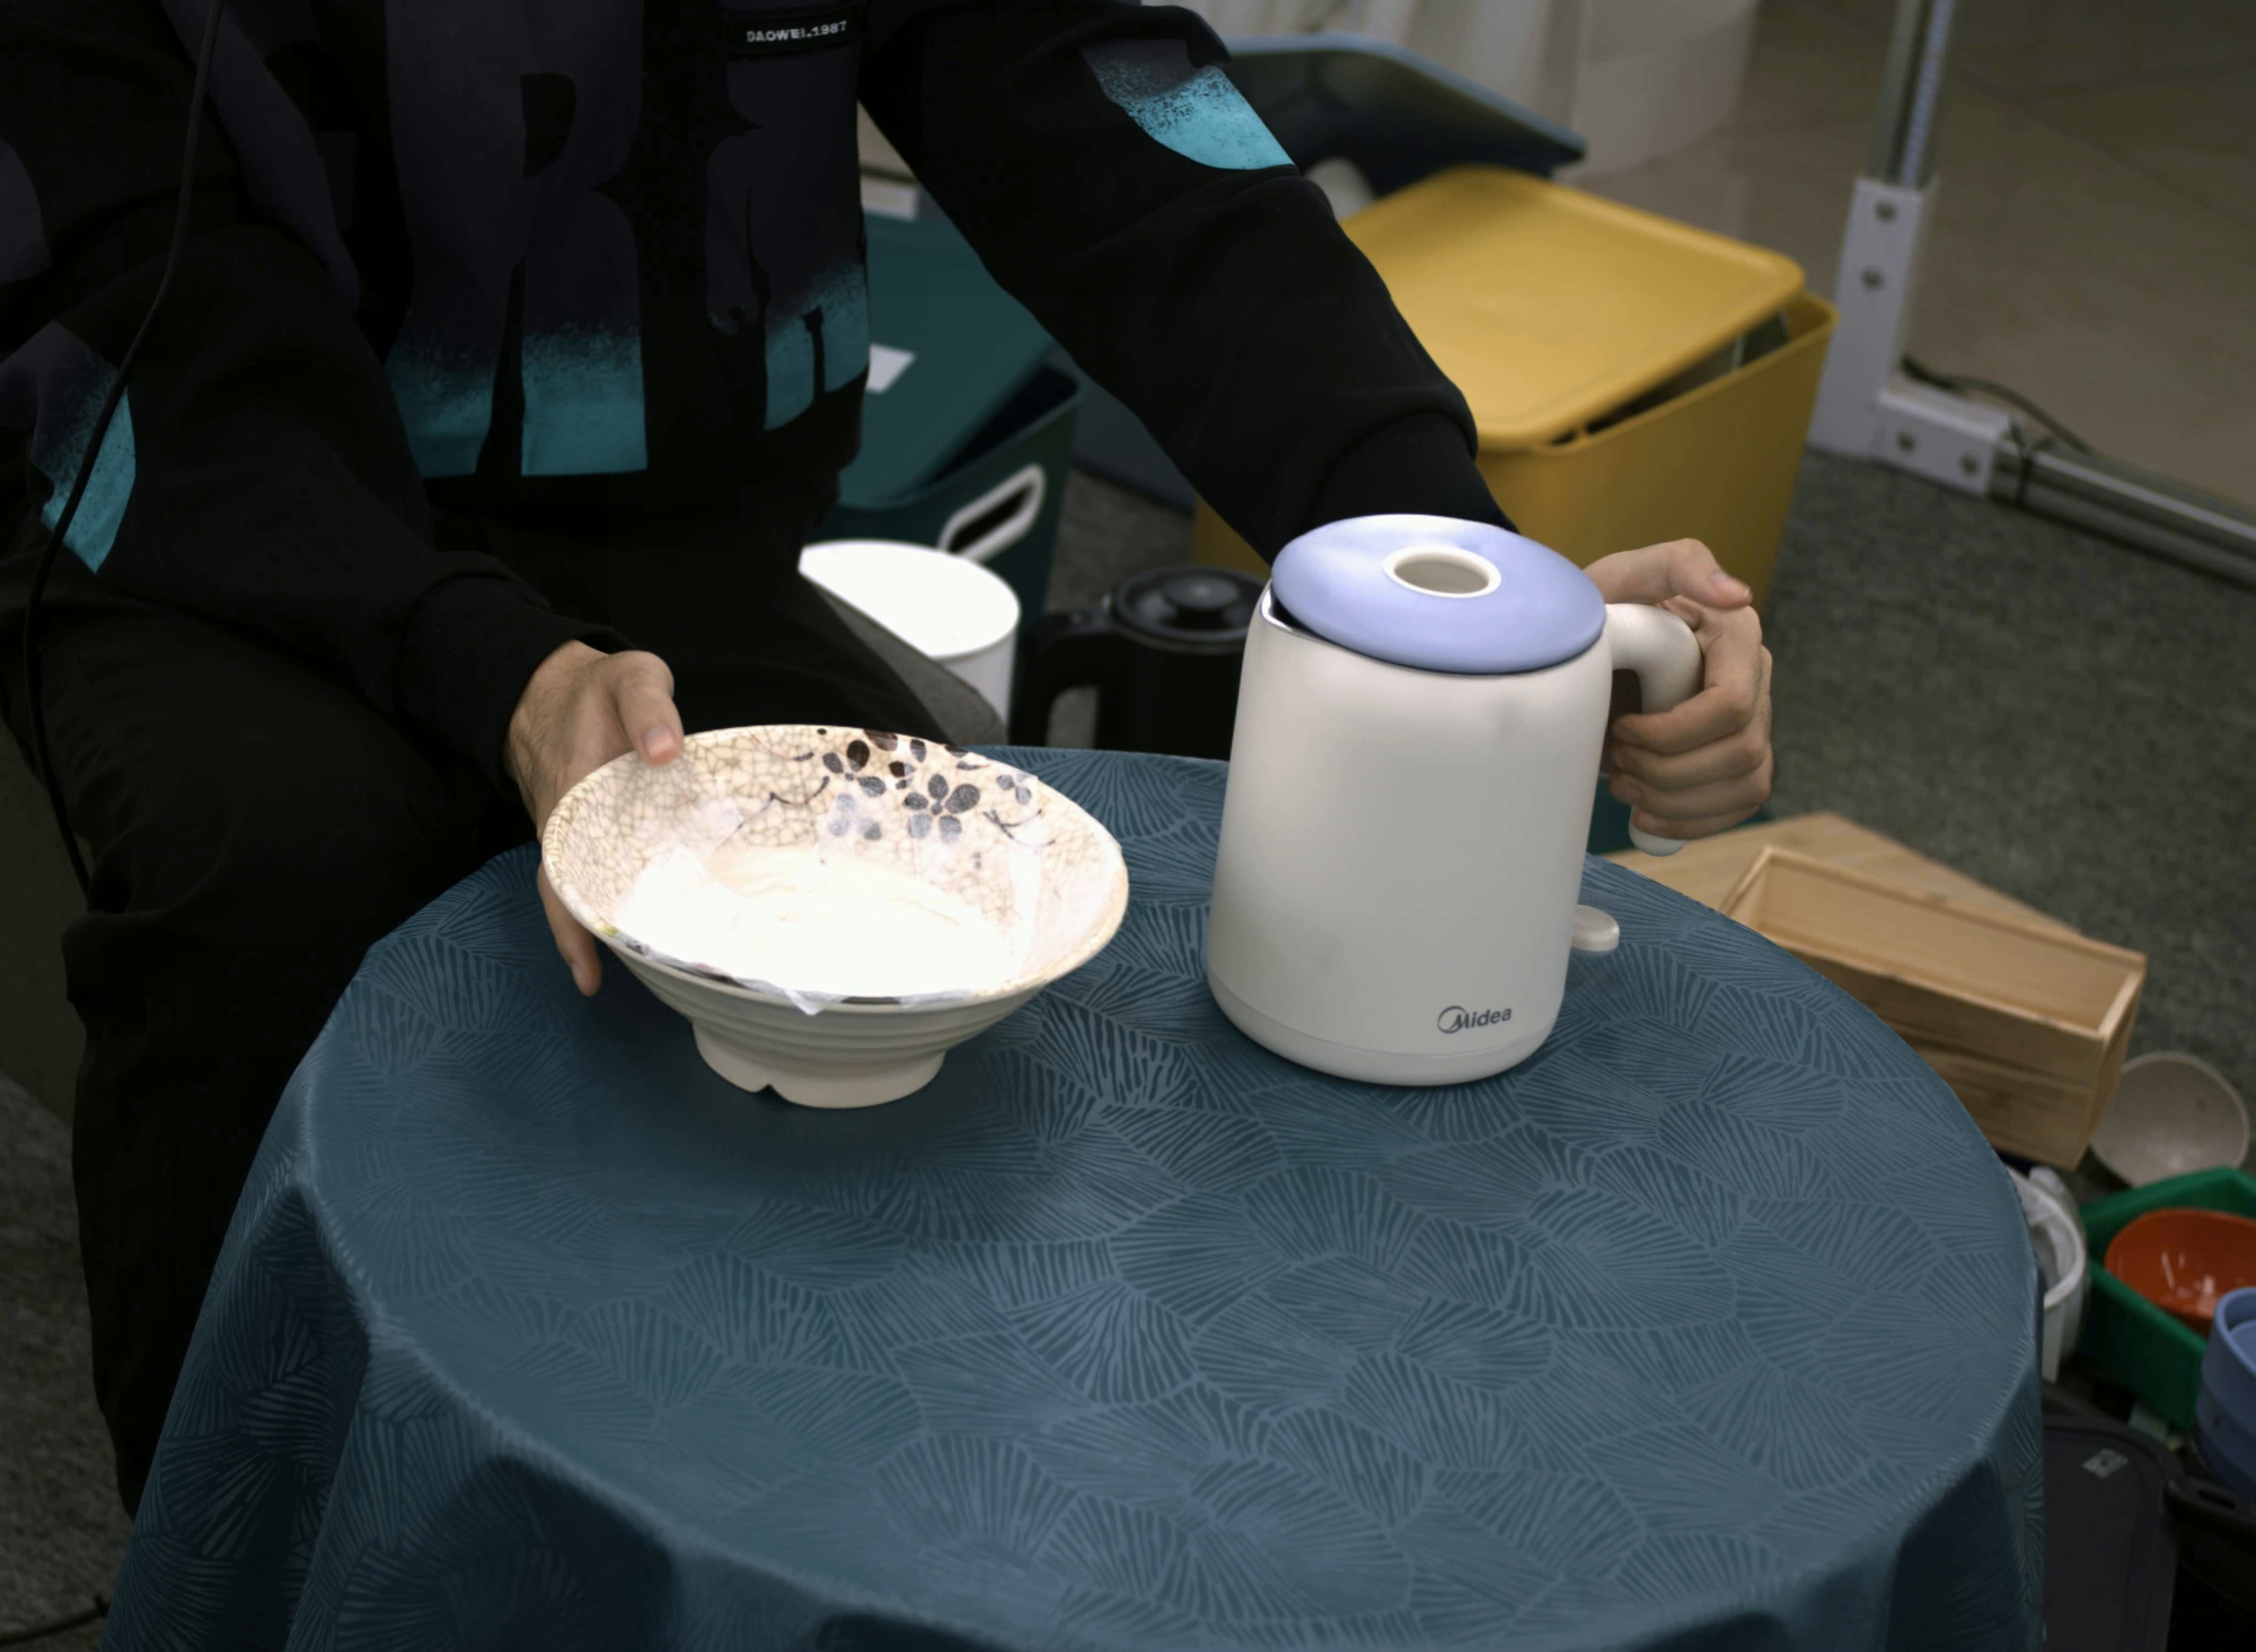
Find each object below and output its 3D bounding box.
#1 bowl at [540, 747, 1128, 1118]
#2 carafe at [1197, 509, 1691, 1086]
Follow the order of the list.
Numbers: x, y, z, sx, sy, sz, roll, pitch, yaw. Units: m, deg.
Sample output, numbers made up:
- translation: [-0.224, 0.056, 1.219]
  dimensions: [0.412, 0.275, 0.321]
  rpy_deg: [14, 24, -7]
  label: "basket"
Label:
- translation: [-0.104, 0.047, 1.845]
  dimensions: [0.203, 0.078, 0.205]
  rpy_deg: [5, 24, -2]
  label: "bowl"
- translation: [0.120, -0.013, 1.907]
  dimensions: [0.190, 0.182, 0.133]
  rpy_deg: [-5, 30, -28]
  label: "carafe"
